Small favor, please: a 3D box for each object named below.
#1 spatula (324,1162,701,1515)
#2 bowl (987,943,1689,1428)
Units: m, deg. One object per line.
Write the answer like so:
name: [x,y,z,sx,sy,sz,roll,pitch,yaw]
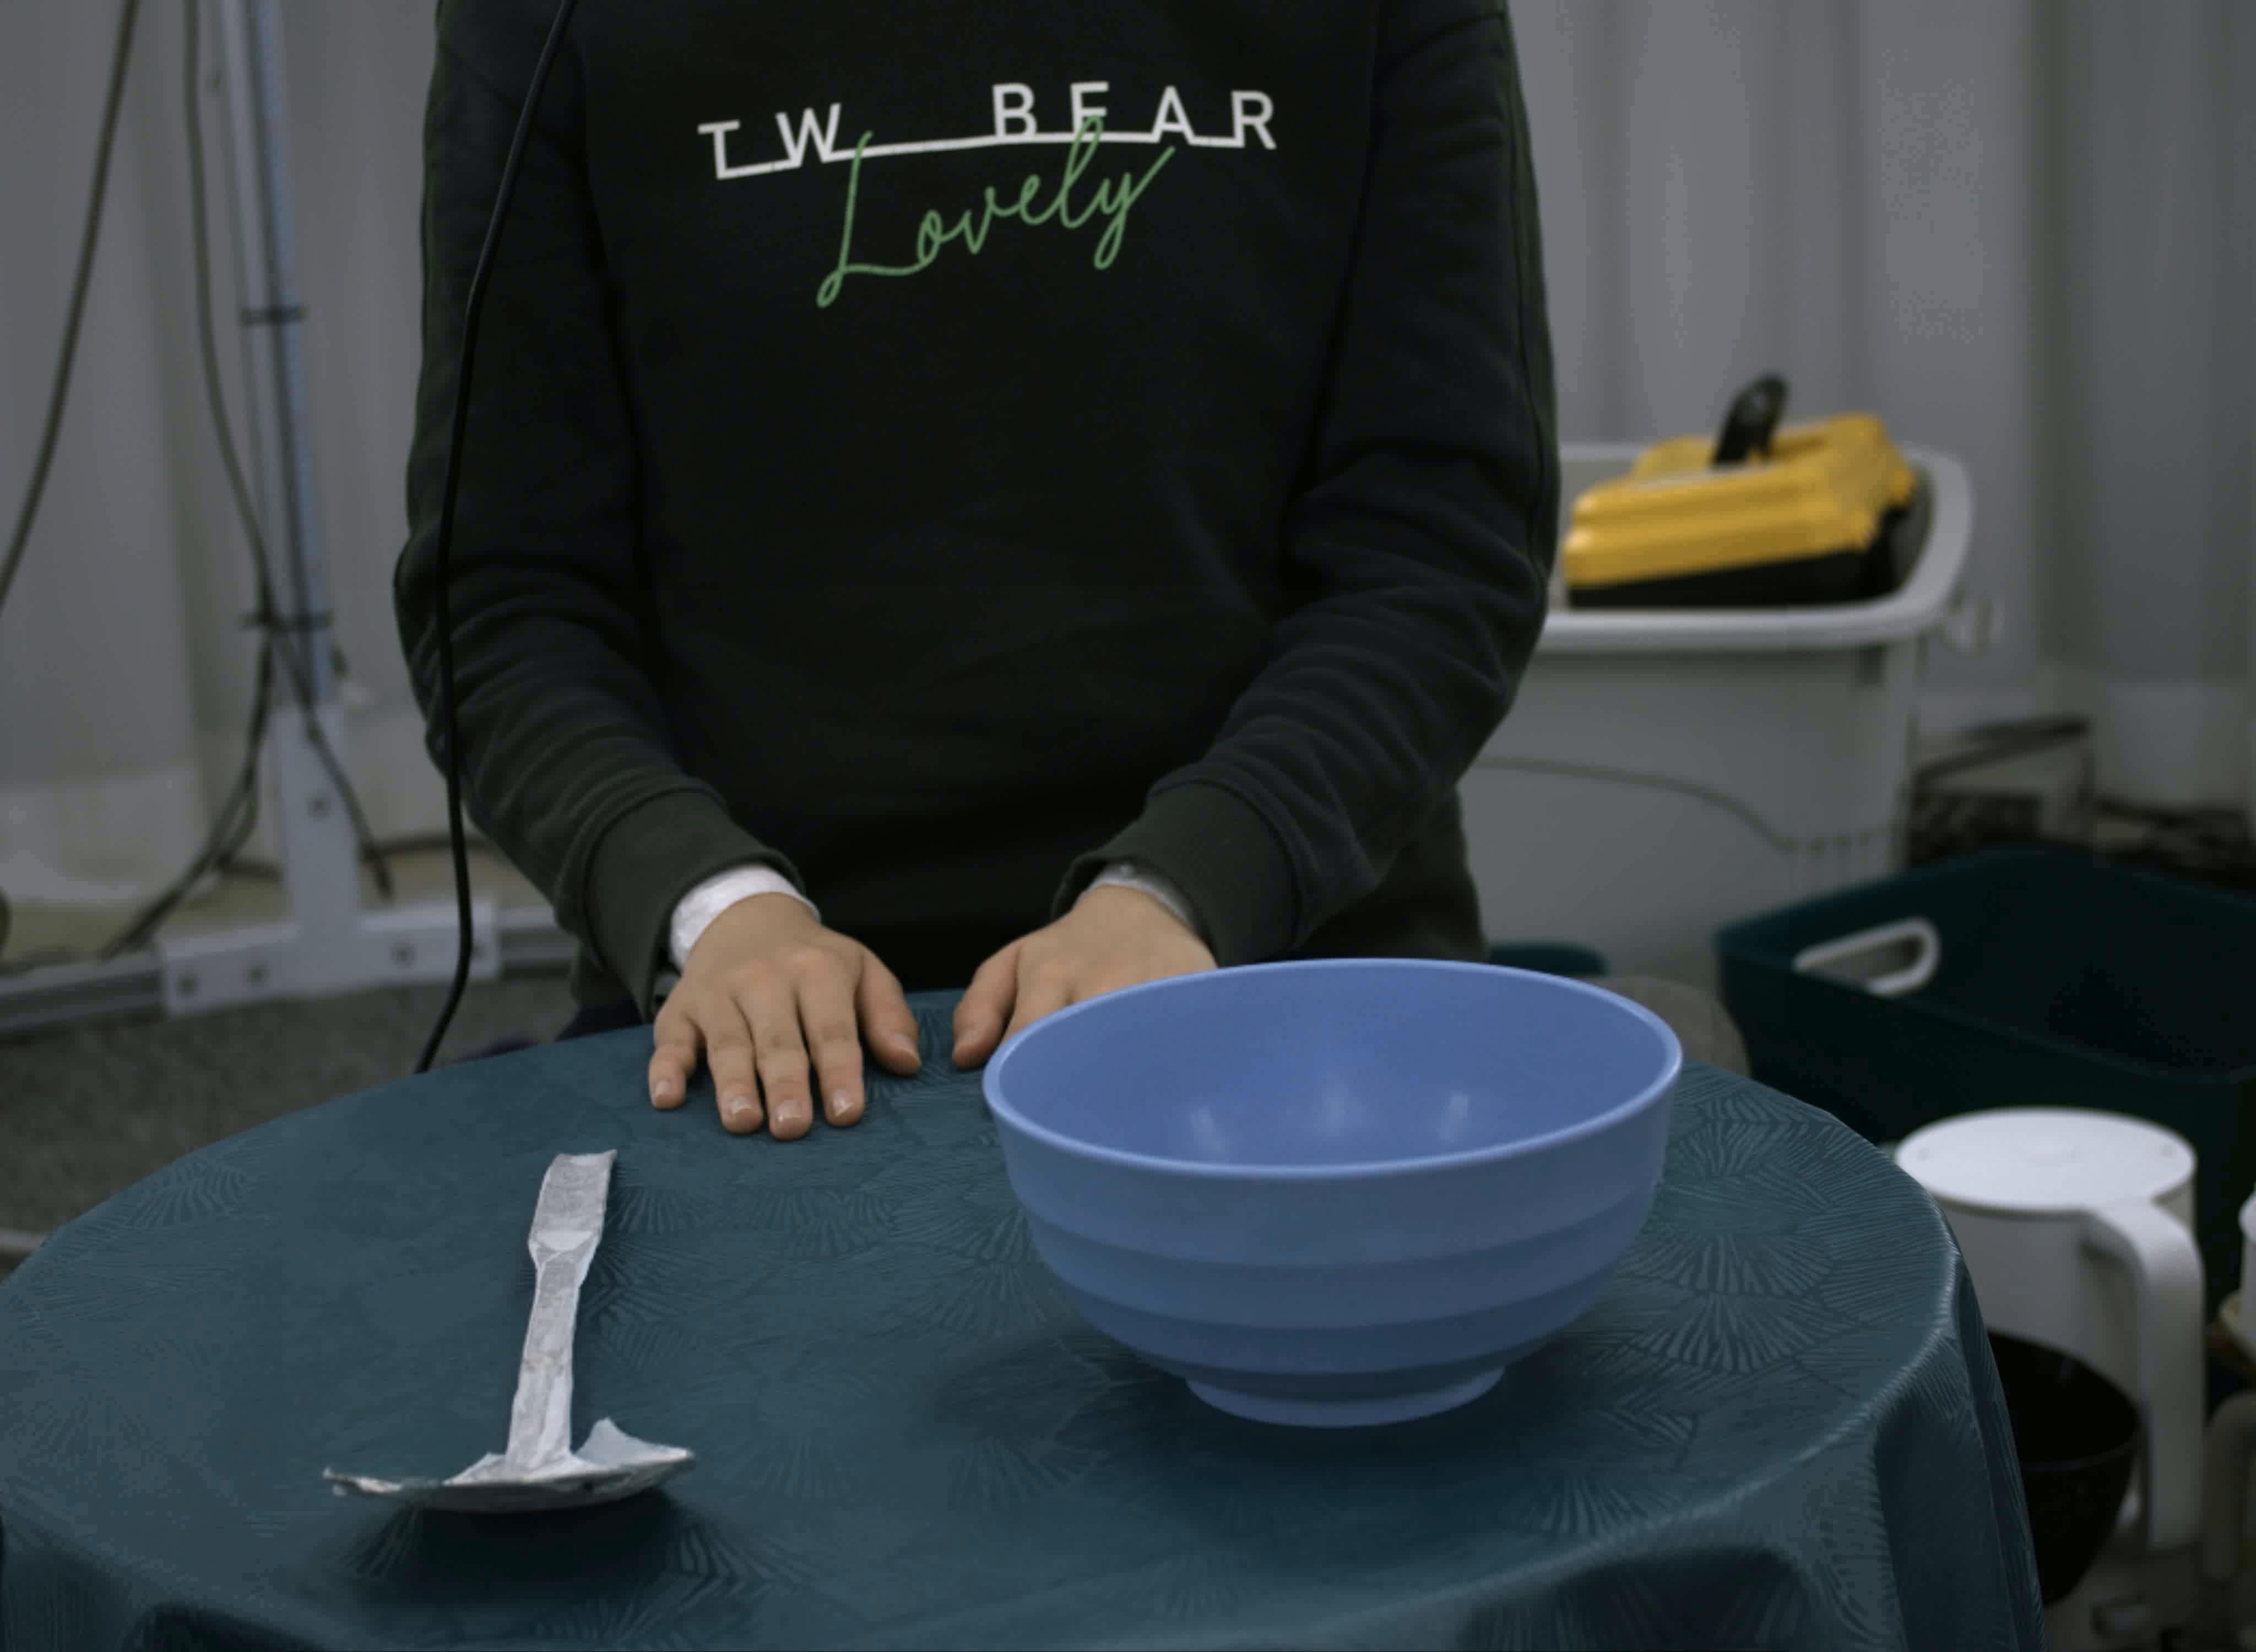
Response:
spatula: [-0.163,0.139,1.580,0.098,0.044,0.367,-5,15,0]
bowl: [0.060,0.108,1.540,0.196,0.095,0.198,-2,17,0]
